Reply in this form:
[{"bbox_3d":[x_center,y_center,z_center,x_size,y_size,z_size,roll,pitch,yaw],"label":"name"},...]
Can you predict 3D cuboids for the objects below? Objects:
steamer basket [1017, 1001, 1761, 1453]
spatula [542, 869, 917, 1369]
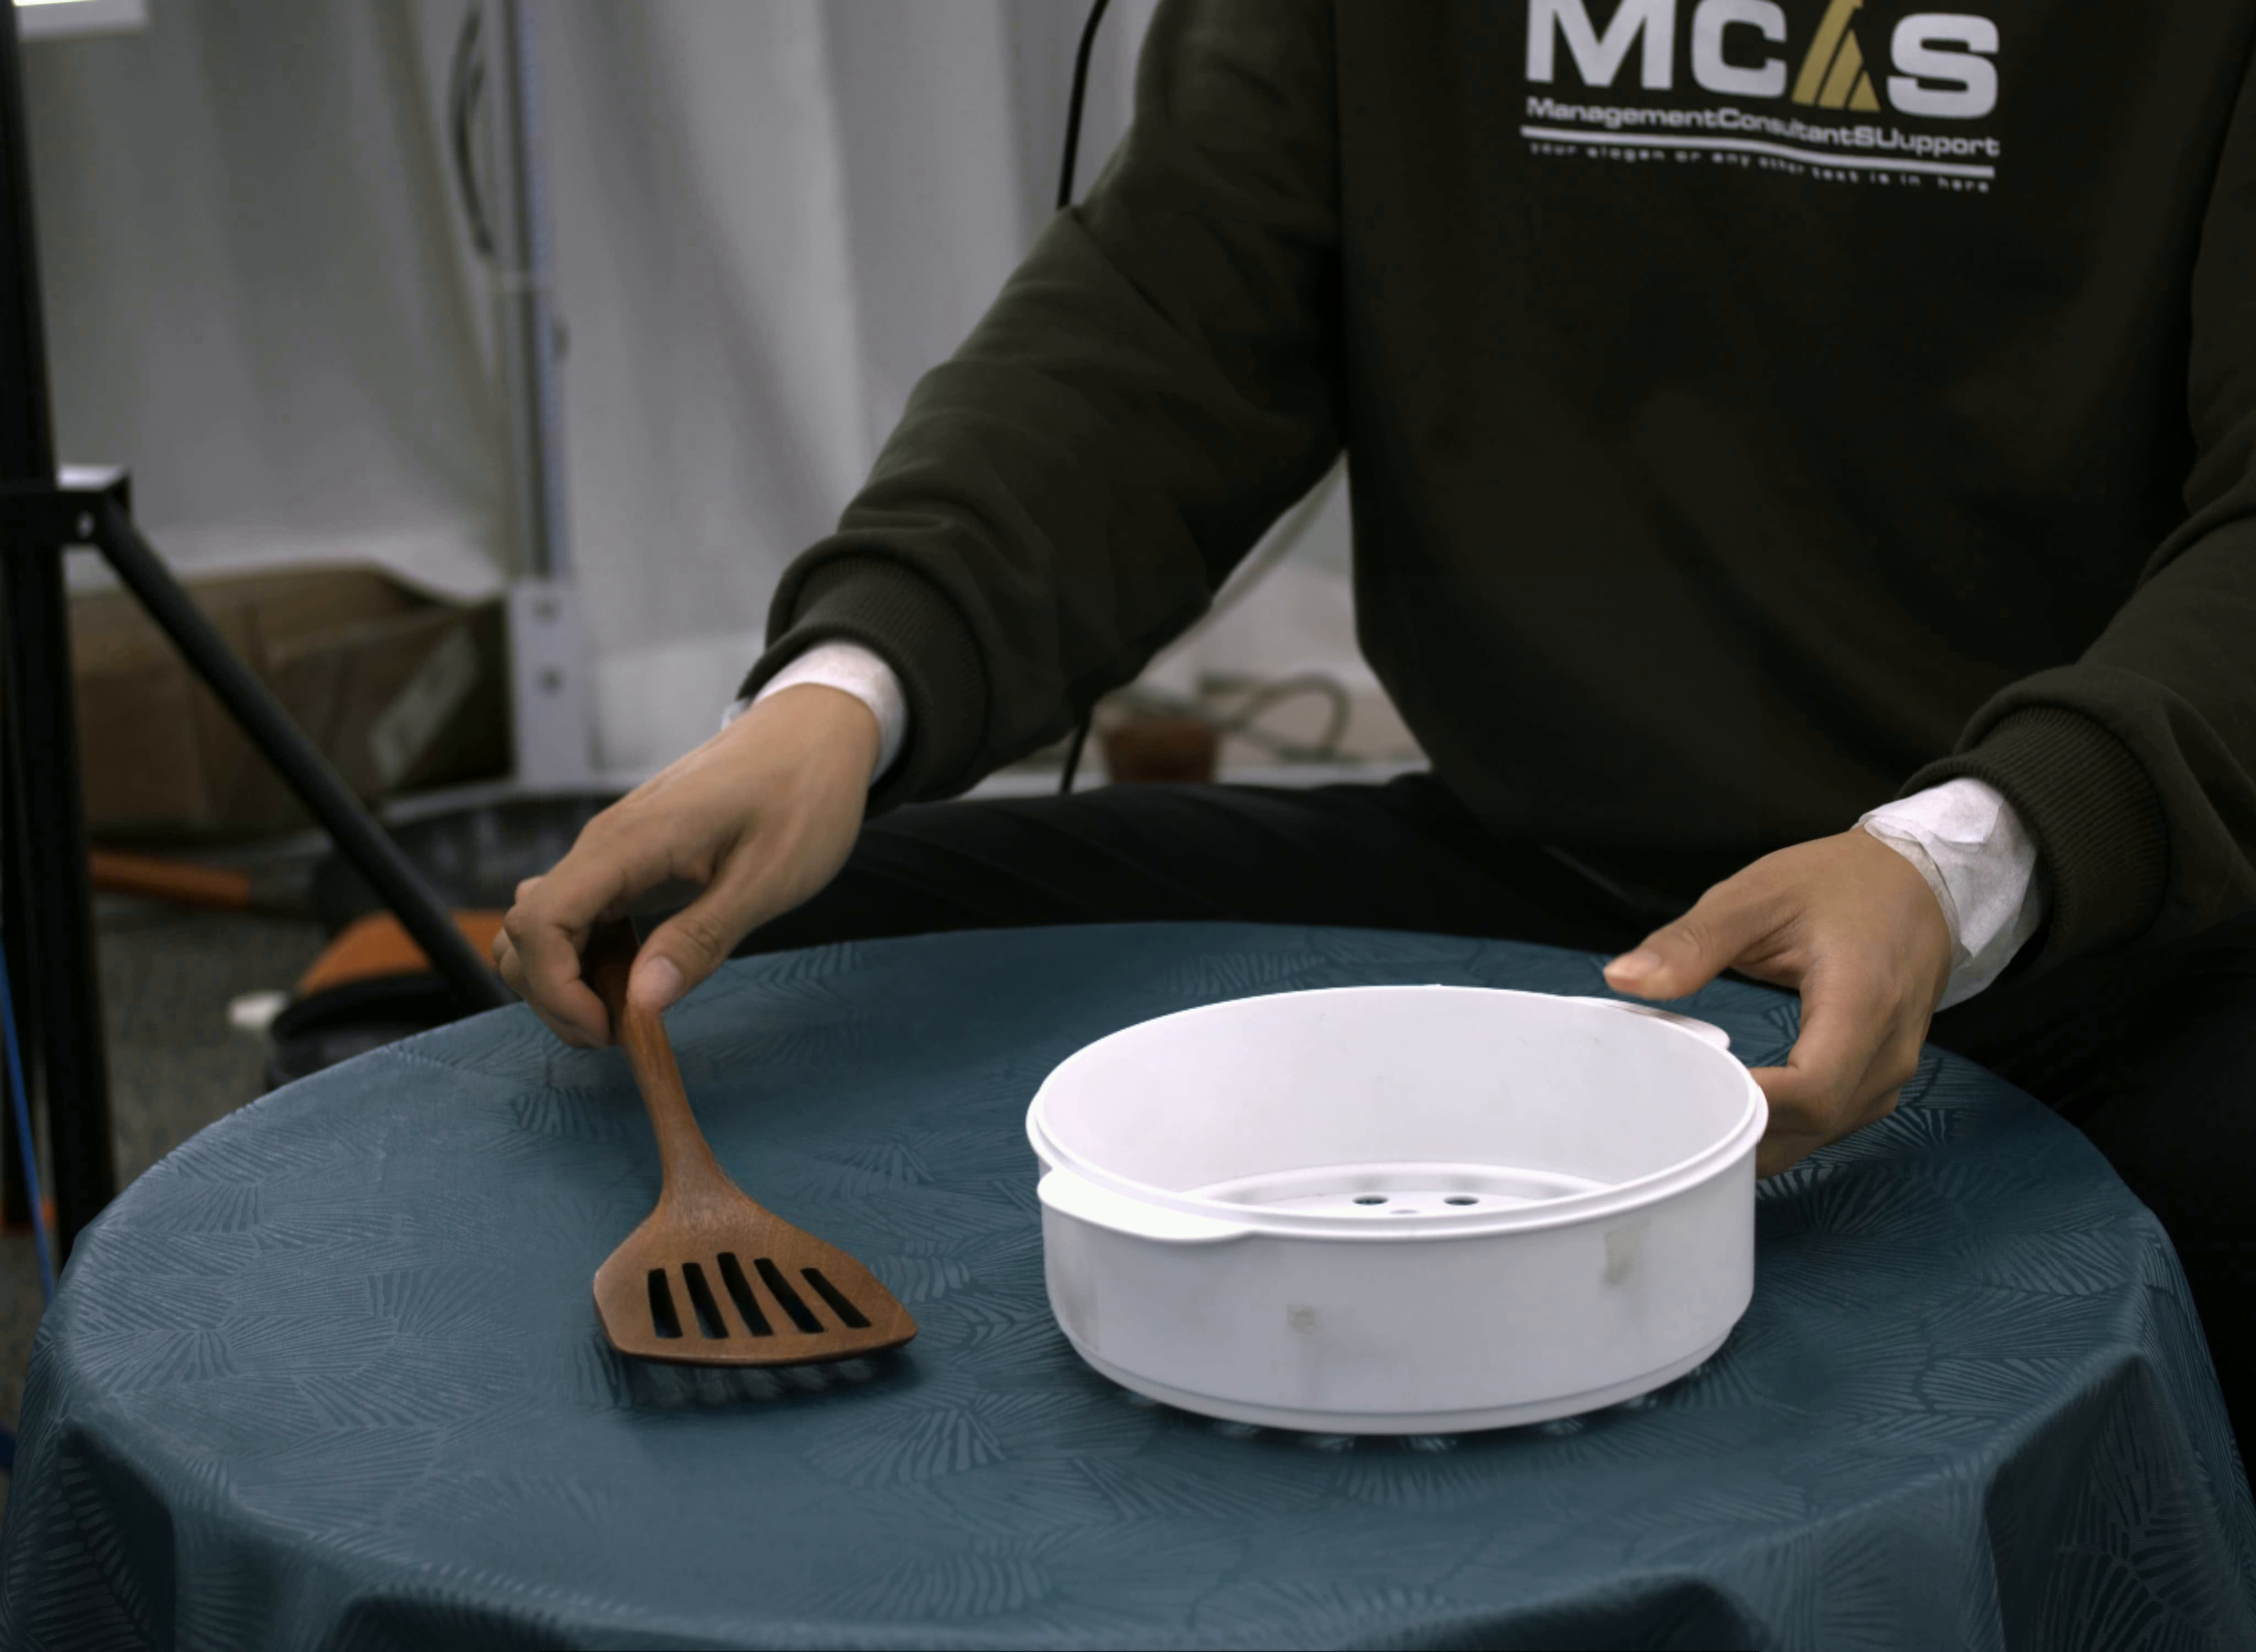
[{"bbox_3d":[0.069,0.108,1.436,0.225,0.069,0.206,-12,20,-42],"label":"steamer basket"},{"bbox_3d":[-0.140,0.084,1.591,0.084,0.023,0.391,-3,21,-13],"label":"spatula"}]
